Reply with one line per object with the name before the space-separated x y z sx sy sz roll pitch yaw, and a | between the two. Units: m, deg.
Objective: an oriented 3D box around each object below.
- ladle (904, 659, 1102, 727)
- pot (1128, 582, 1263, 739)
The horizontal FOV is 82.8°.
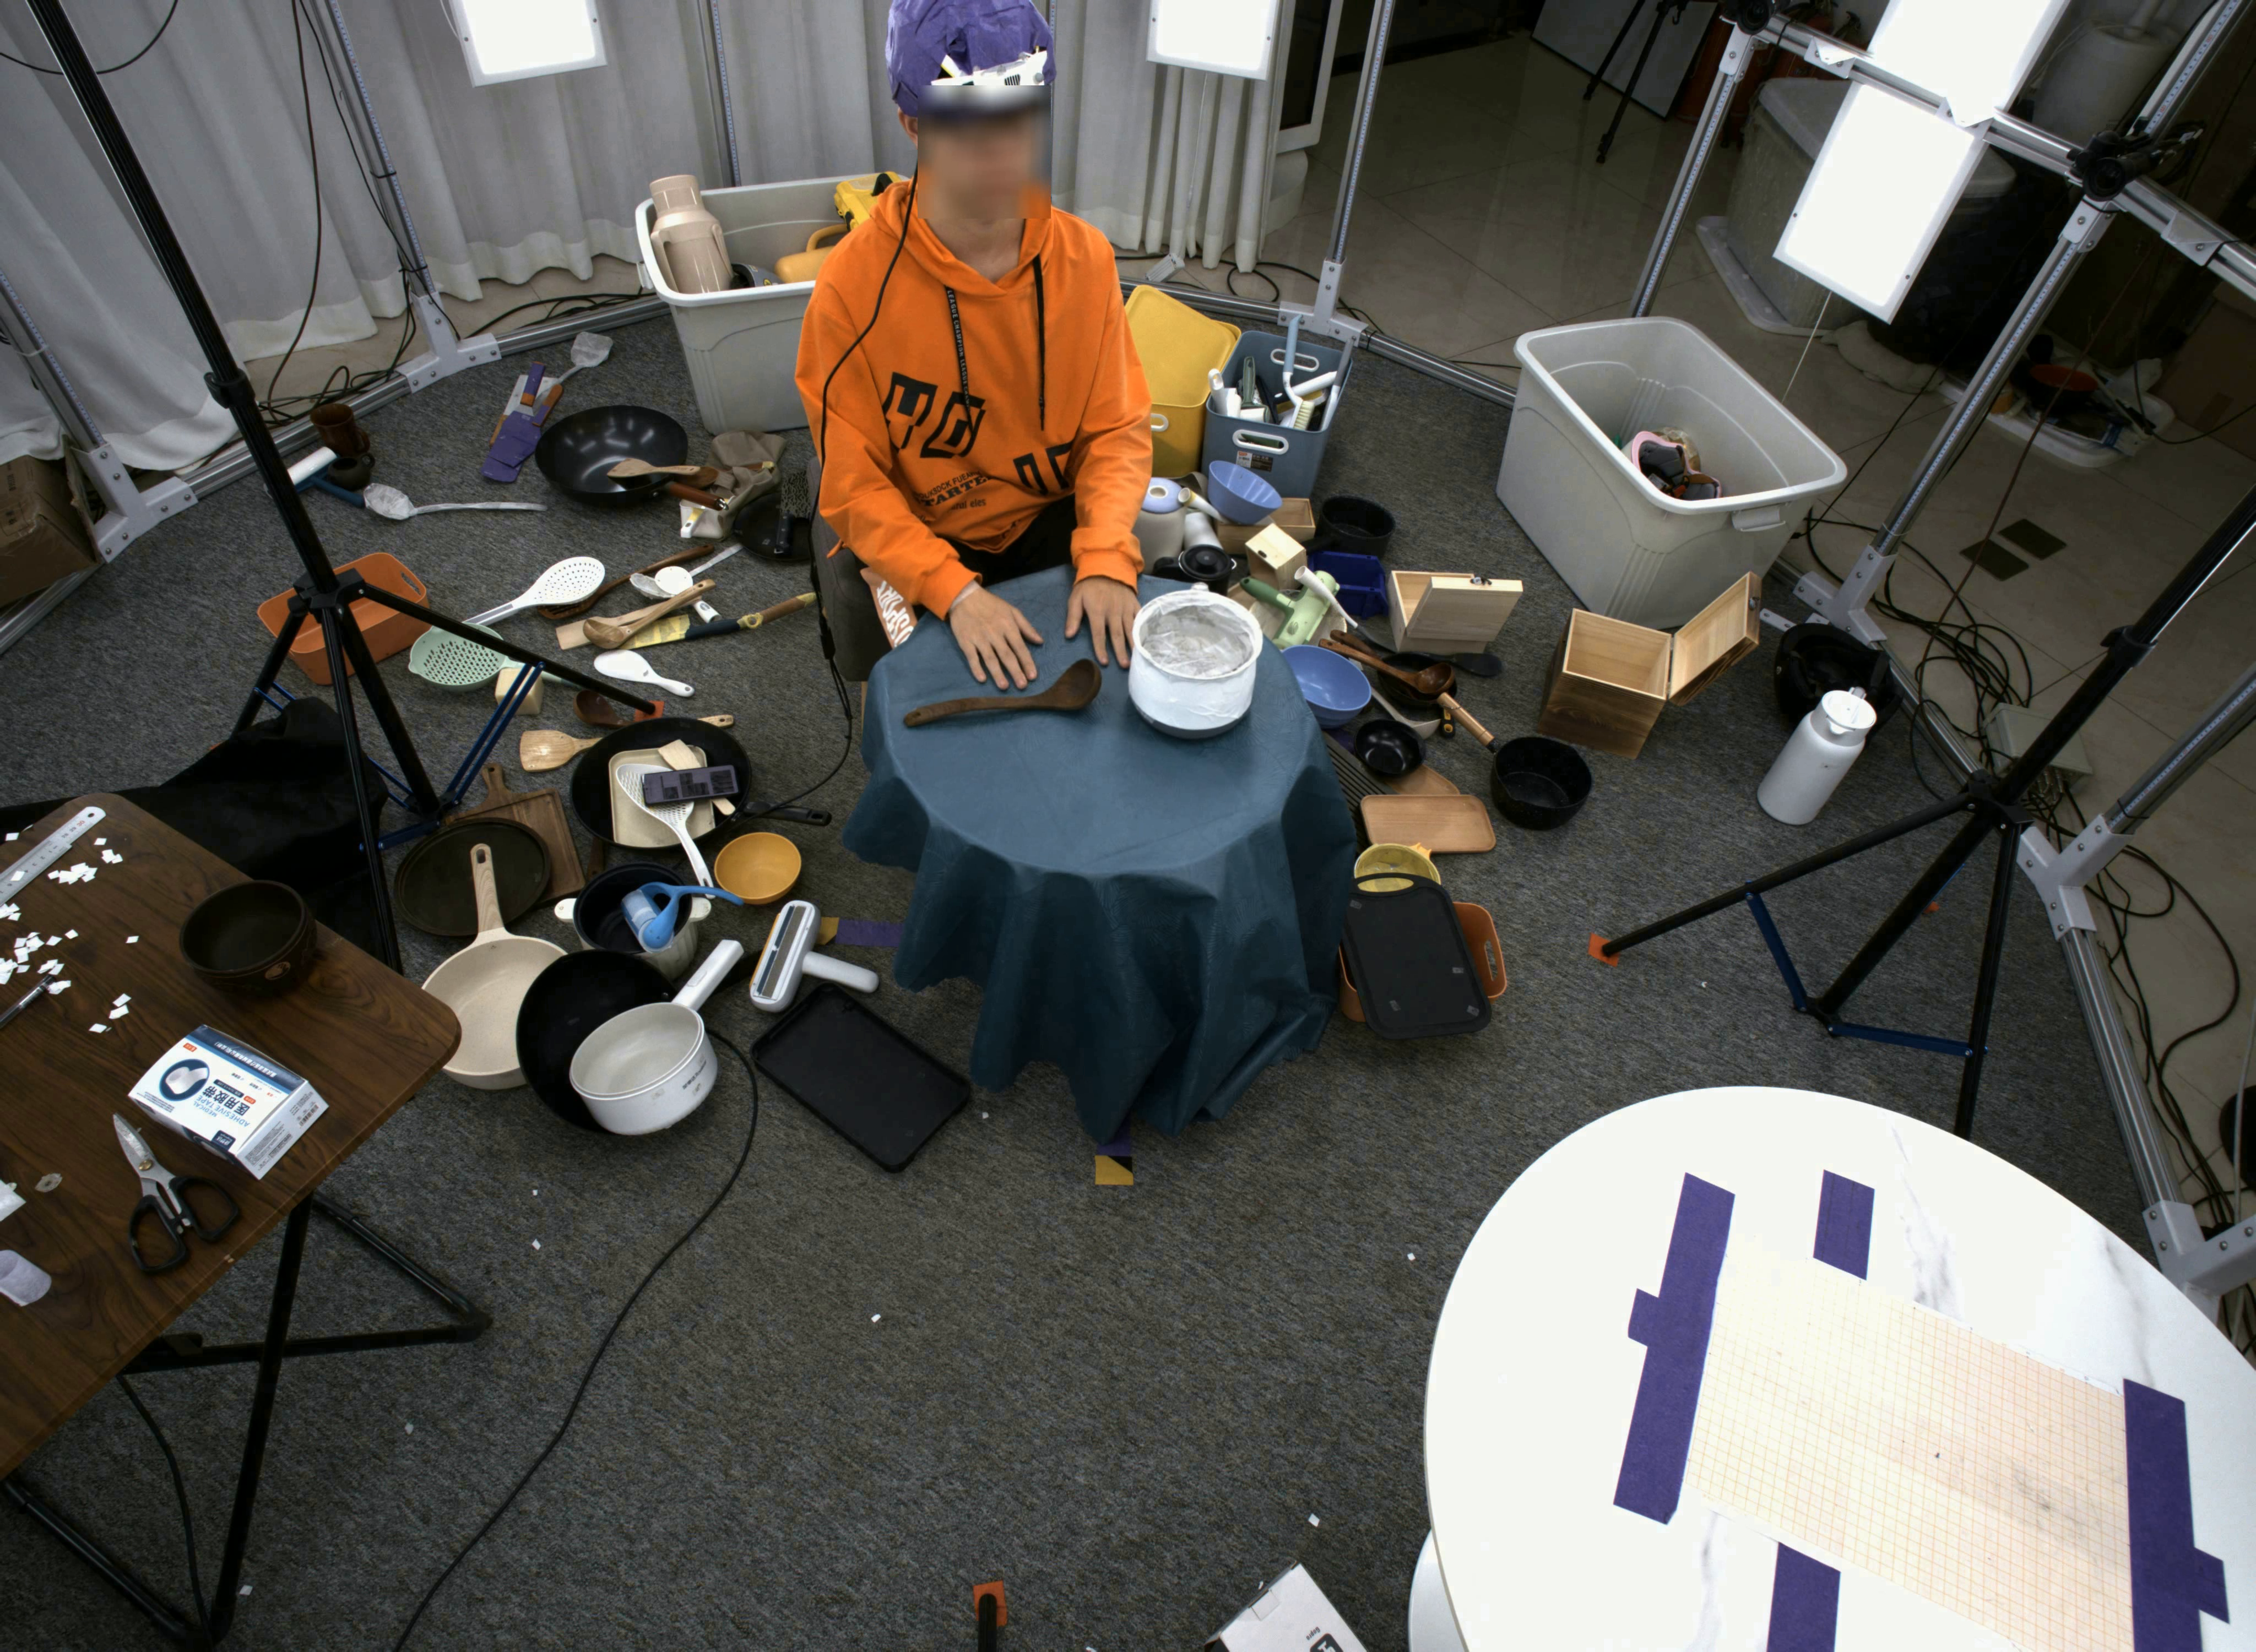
ladle | -0.172 -0.183 1.771 0.274 0.069 0.078 -7 47 -11
pot | 0.091 -0.241 1.795 0.178 0.133 0.239 5 49 -1
